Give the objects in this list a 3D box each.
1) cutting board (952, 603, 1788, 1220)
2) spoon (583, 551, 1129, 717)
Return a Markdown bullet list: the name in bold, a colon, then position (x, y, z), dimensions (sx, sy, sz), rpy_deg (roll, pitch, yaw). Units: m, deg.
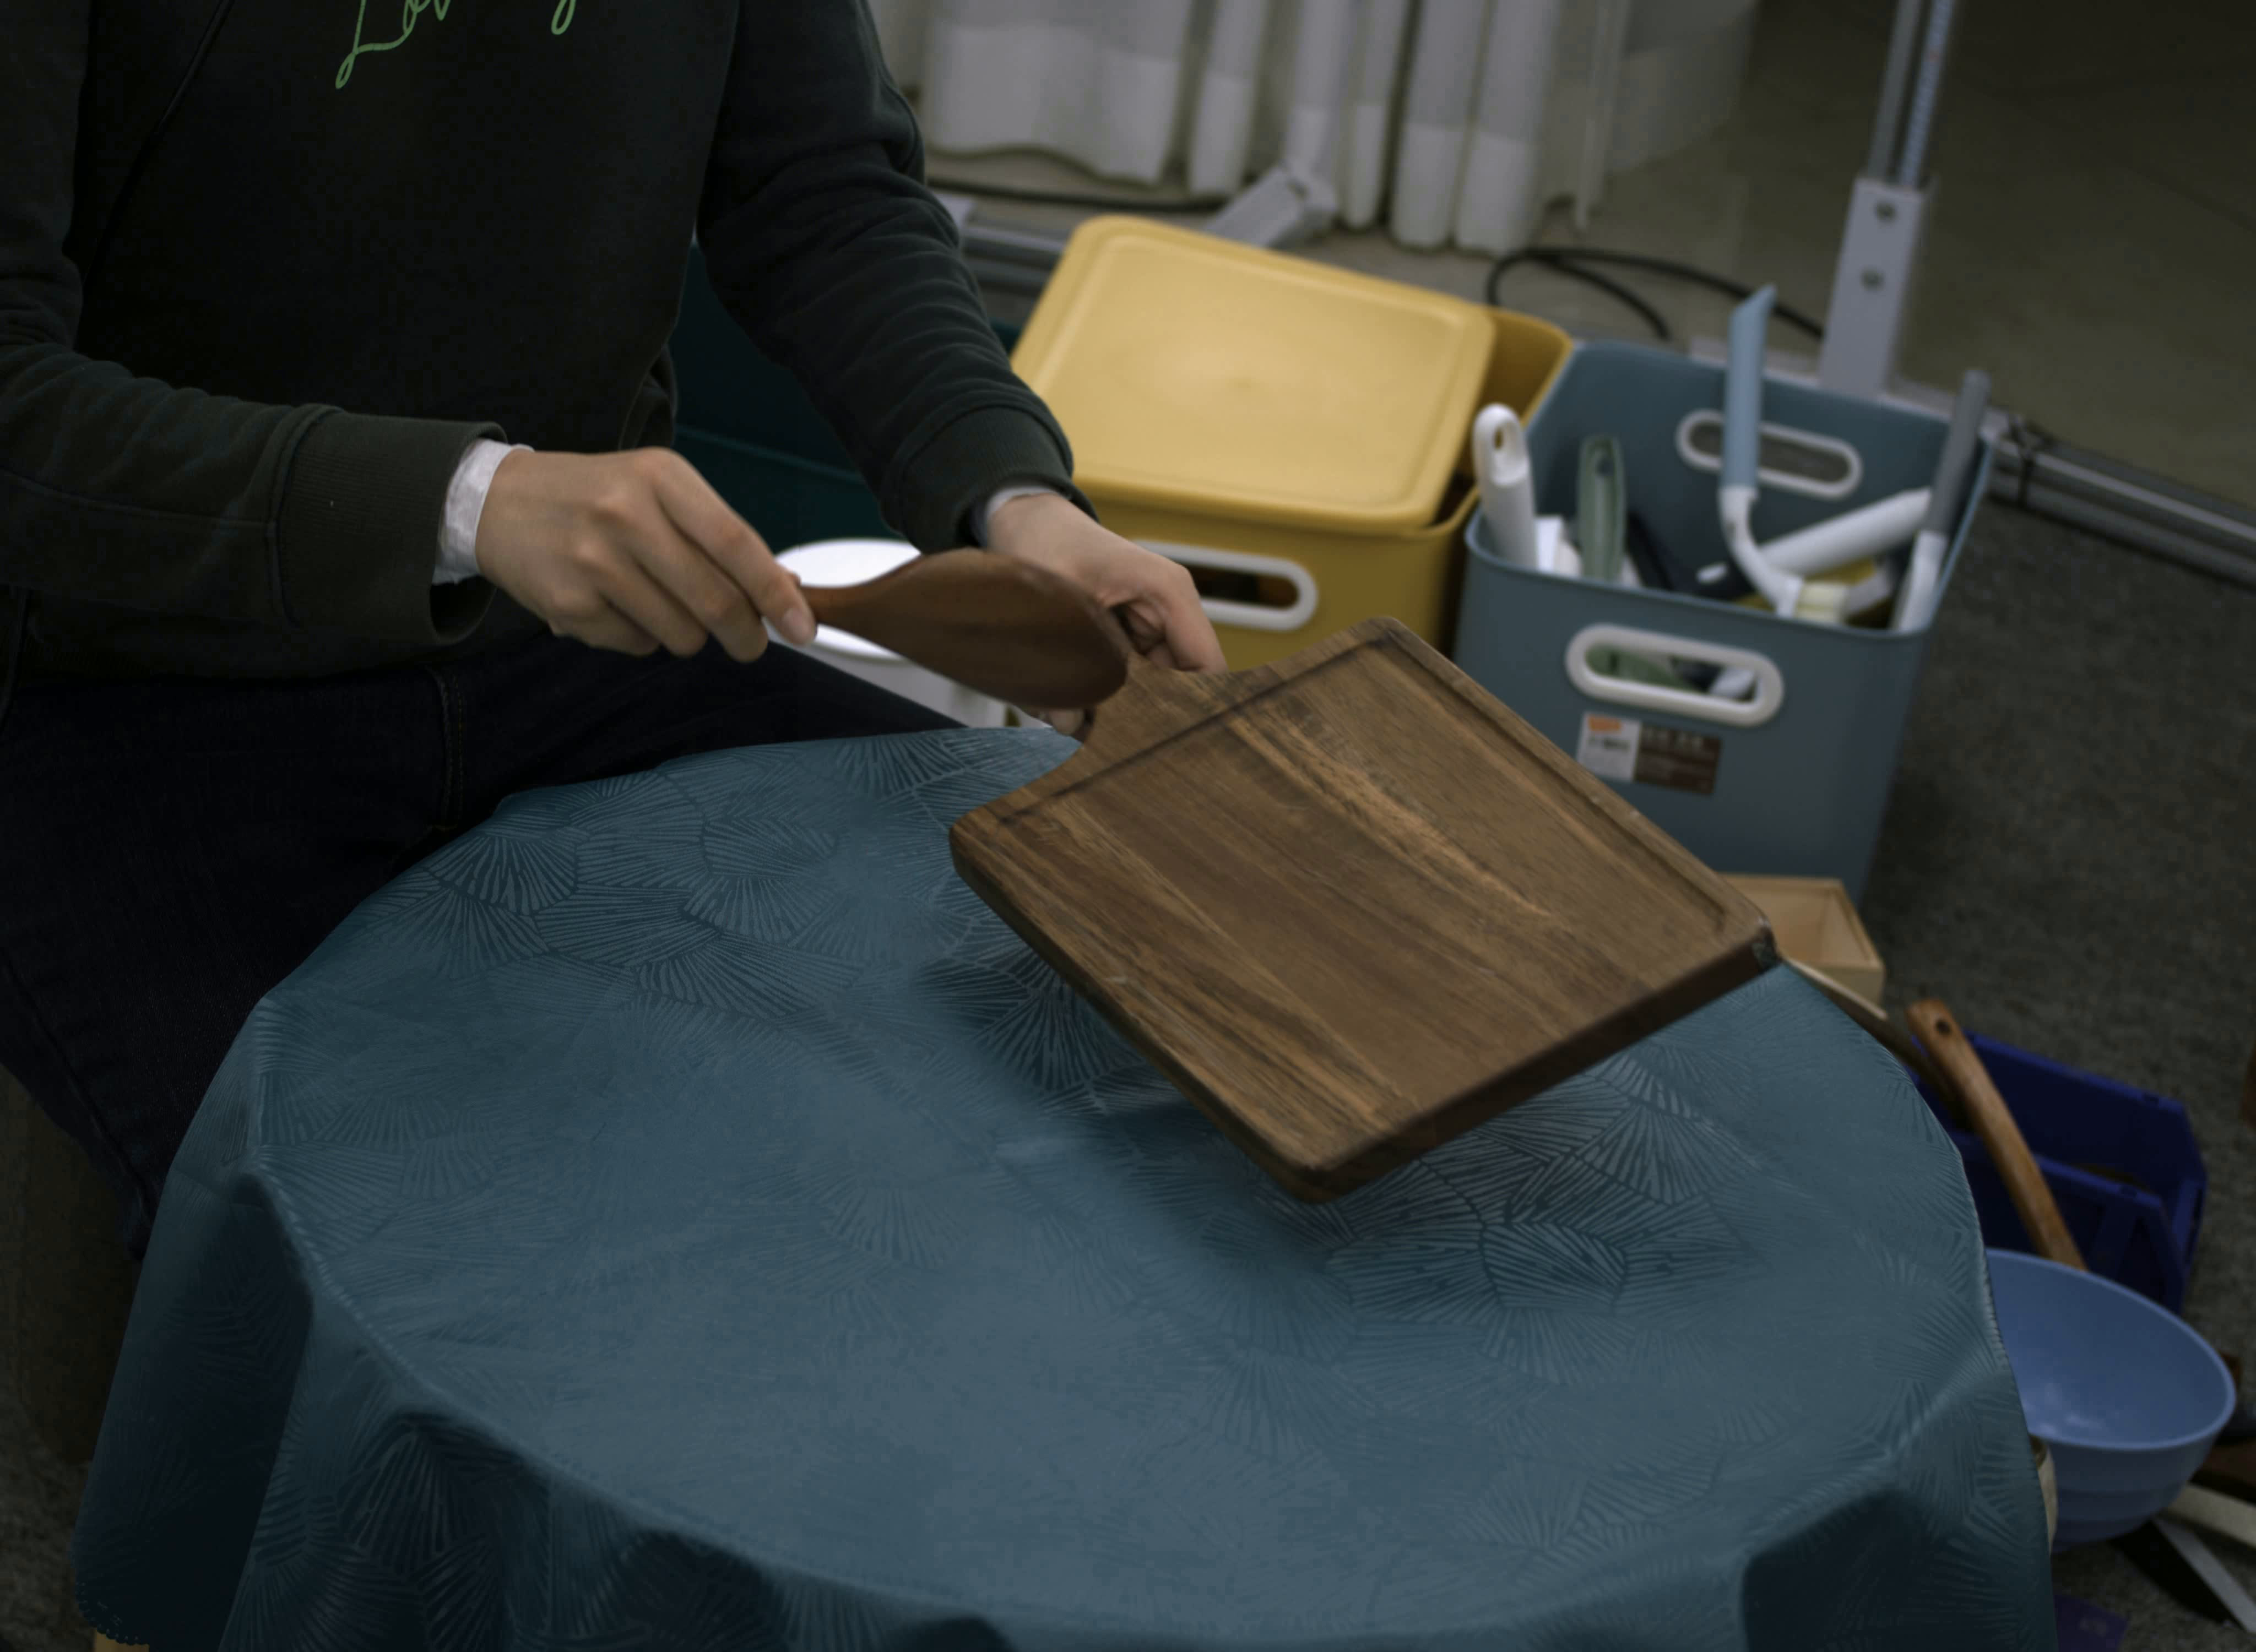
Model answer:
- **cutting board**: position (0.056, 0.004, 1.902), dimensions (0.200, 0.023, 0.355), rpy_deg (-27, 39, -18)
- **spoon**: position (-0.097, -0.069, 1.822), dimensions (0.217, 0.075, 0.017), rpy_deg (10, 59, 30)
